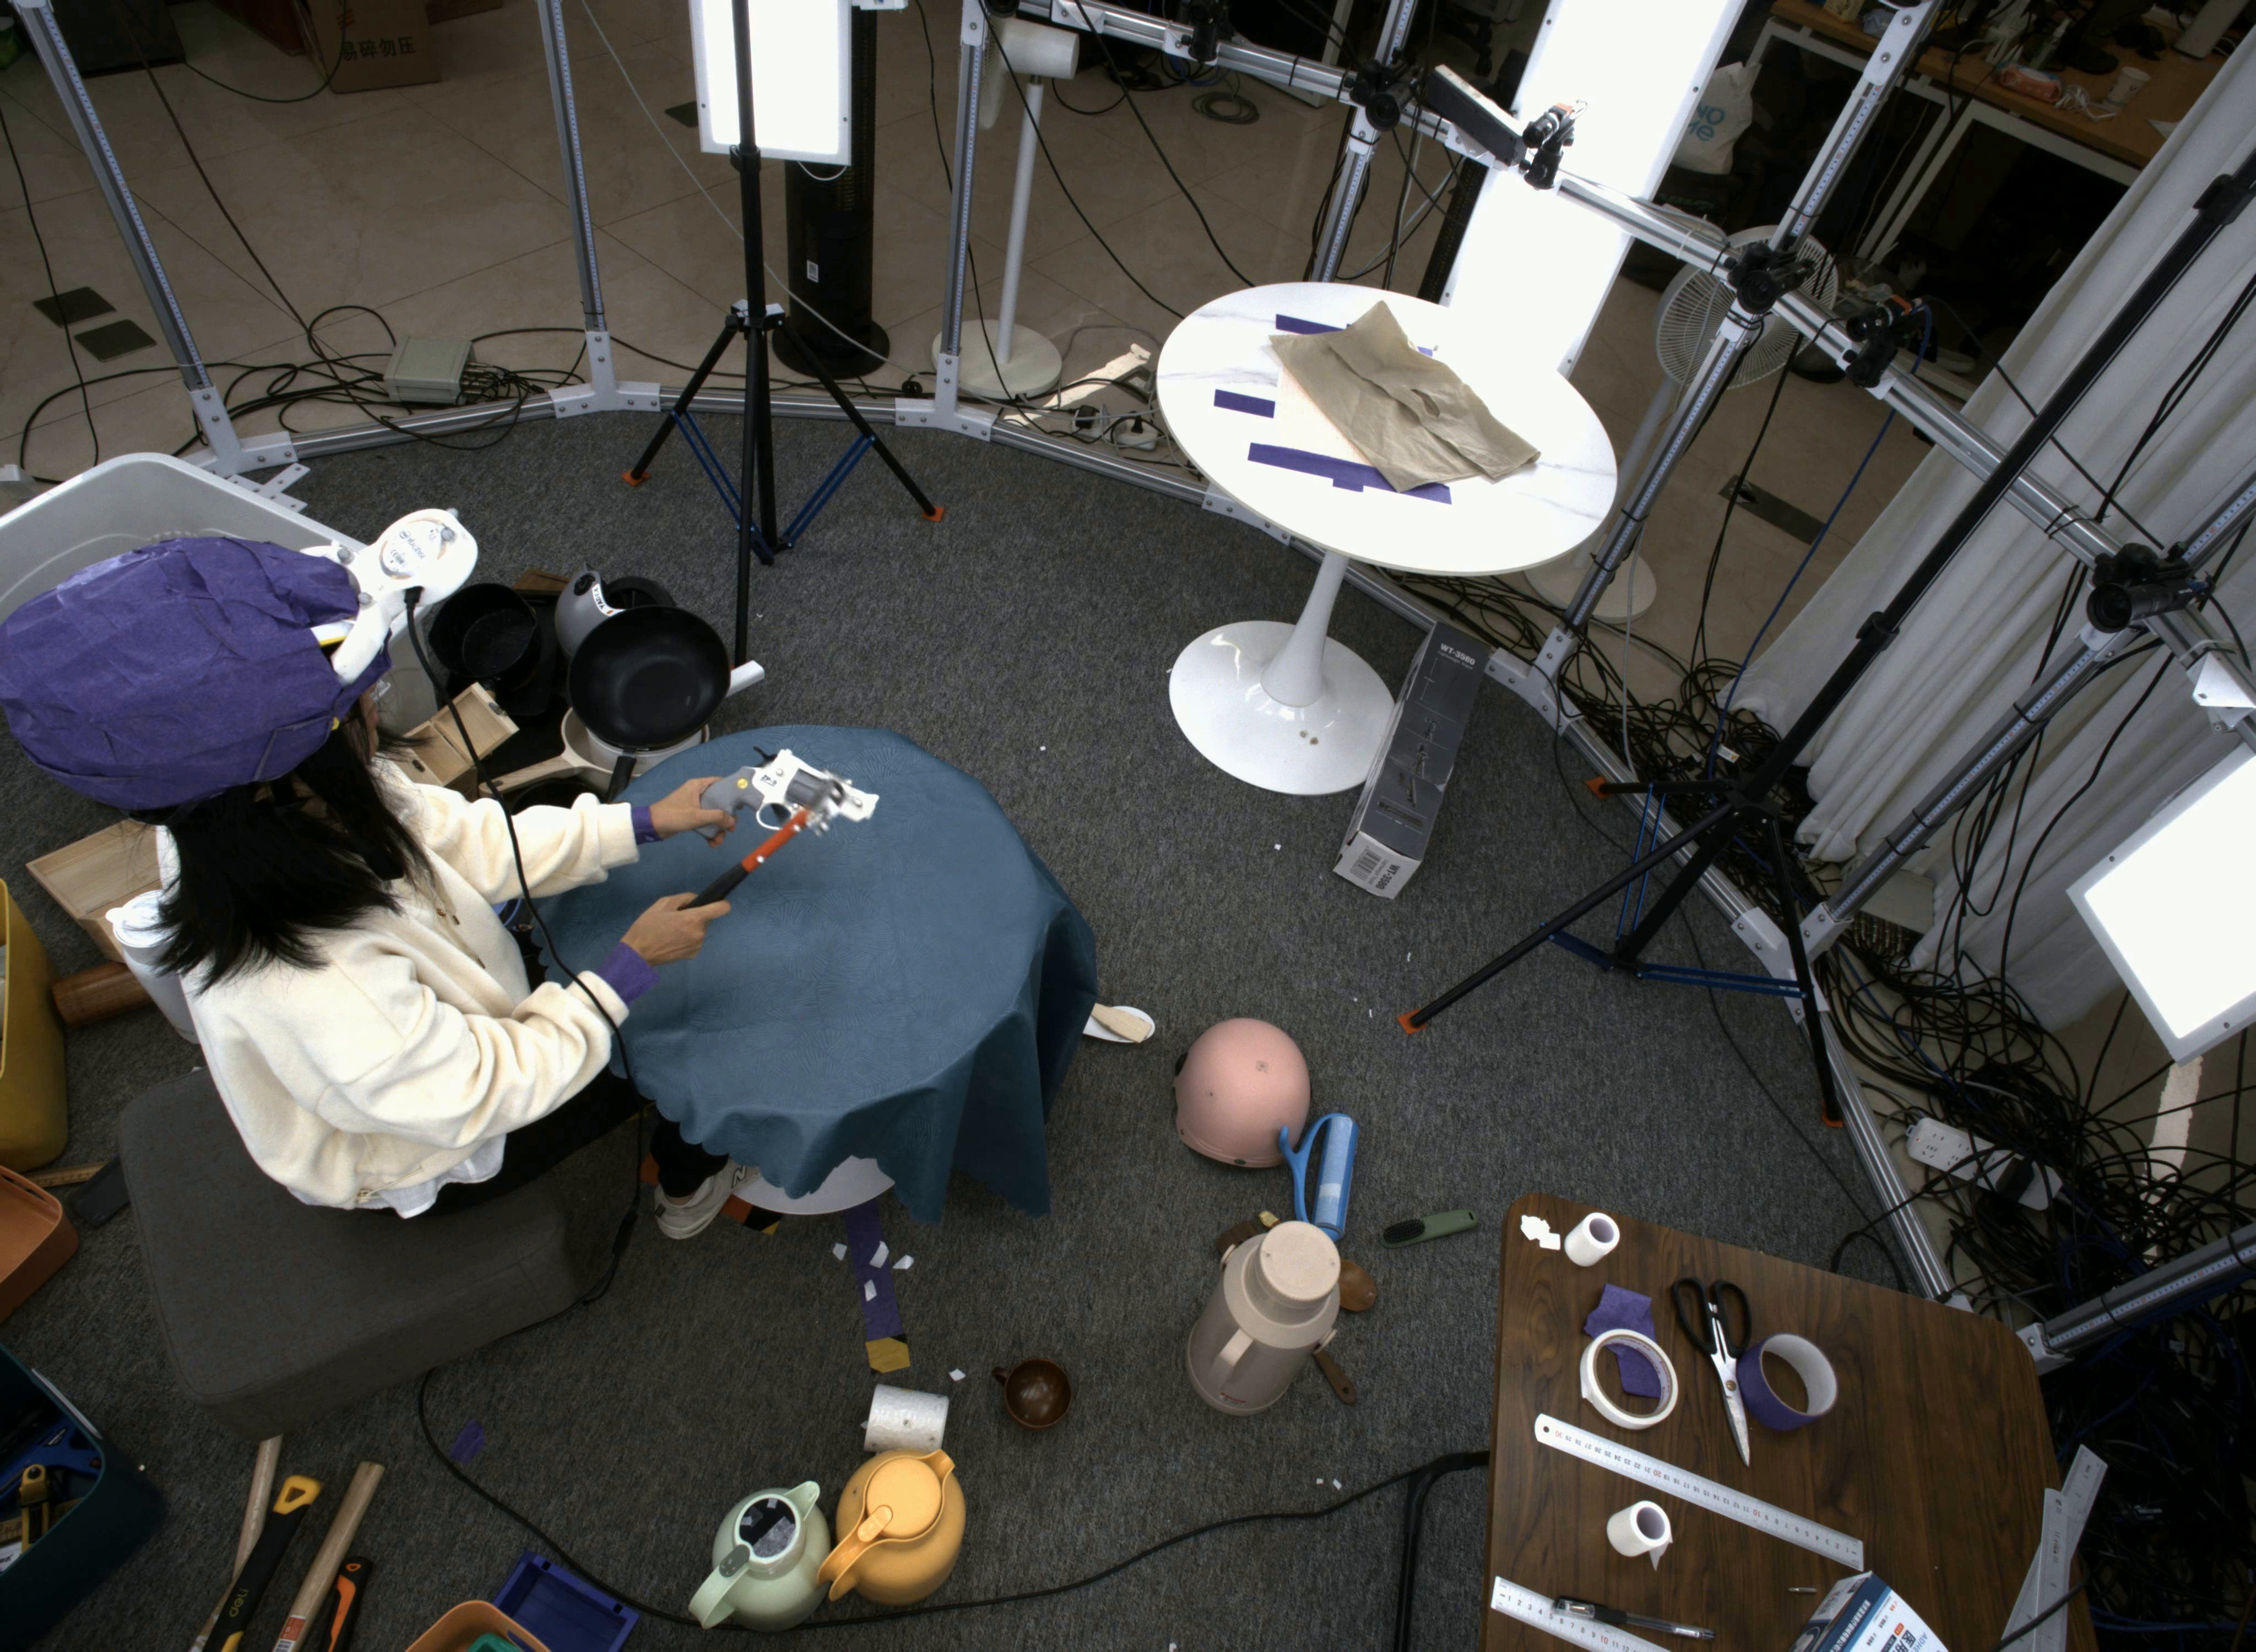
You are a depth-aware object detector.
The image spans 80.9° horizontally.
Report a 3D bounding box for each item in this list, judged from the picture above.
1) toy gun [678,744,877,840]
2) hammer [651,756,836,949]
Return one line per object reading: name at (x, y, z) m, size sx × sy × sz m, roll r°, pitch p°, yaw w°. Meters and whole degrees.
toy gun at (-0.429, -0.026, 1.585) m, size 0.208 × 0.039 × 0.142 m, roll 24°, pitch 78°, yaw -5°
hammer at (-0.440, 0.037, 1.474) m, size 0.277 × 0.027 × 0.107 m, roll -43°, pitch 35°, yaw 1°
